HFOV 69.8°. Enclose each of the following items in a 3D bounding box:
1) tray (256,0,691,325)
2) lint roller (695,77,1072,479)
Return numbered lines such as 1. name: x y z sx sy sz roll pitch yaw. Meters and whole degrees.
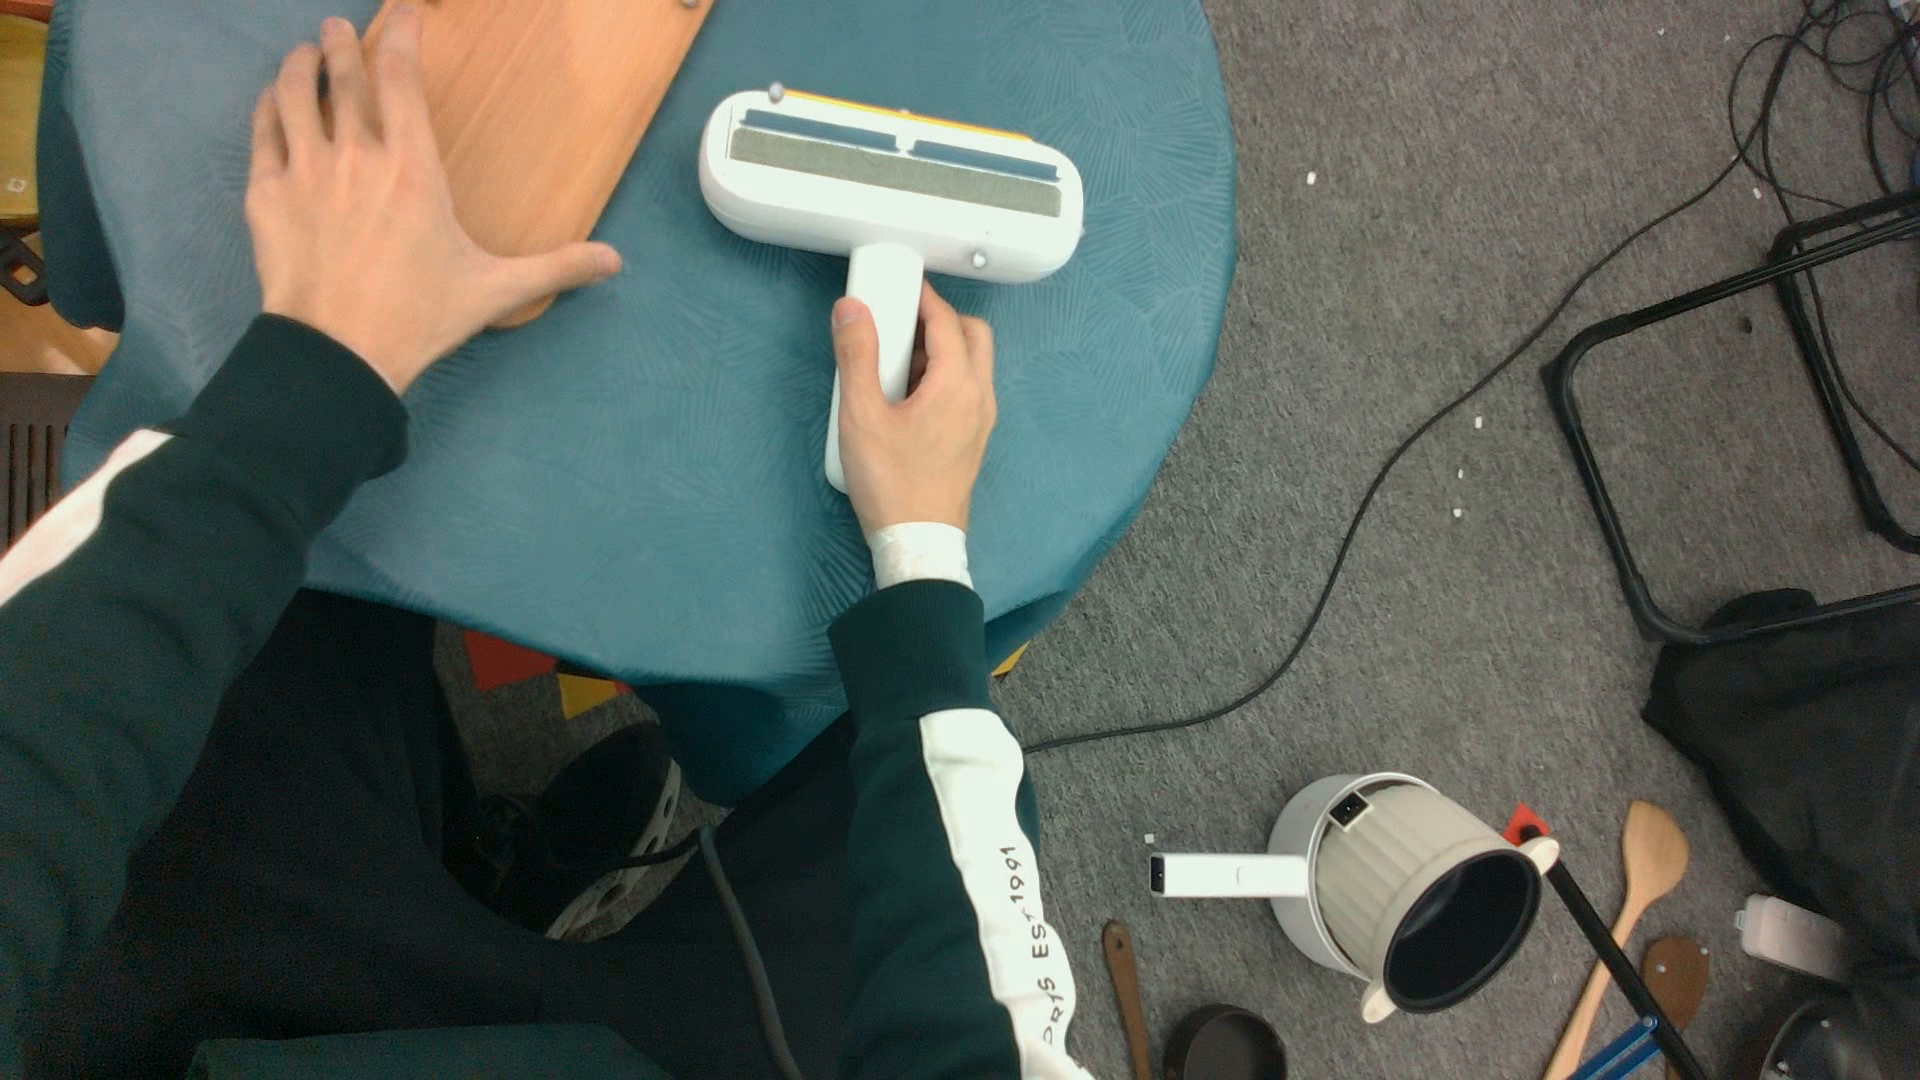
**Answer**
1. tray: -0.223 -0.229 0.664 0.130 0.023 0.251 27 73 -15
2. lint roller: -0.052 -0.125 0.712 0.193 0.074 0.192 12 92 -14
